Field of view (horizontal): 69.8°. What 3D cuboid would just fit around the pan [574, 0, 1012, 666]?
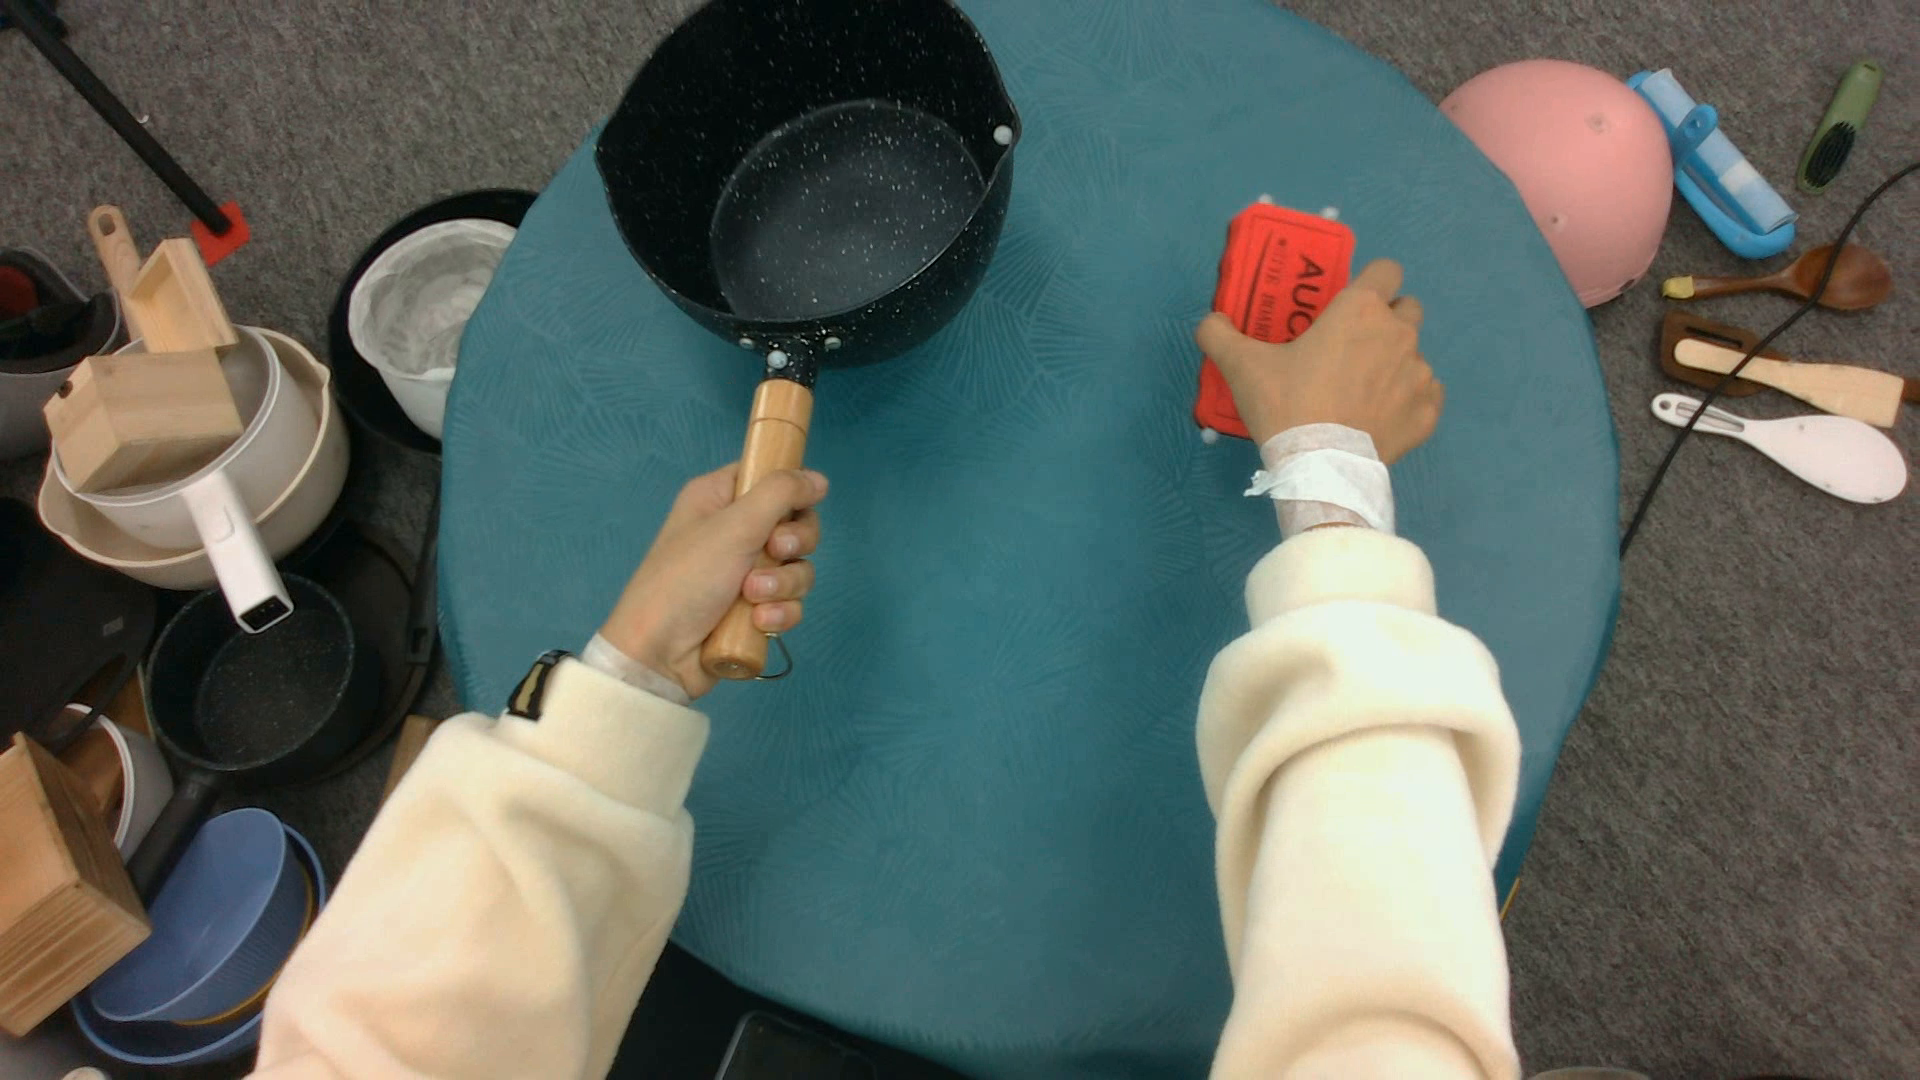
[{"bbox_3d":[-0.076,-0.099,0.626,0.207,0.108,0.344,-2,69,10],"label":"pan"}]

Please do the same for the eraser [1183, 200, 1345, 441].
[{"bbox_3d":[0.146,-0.105,0.663,0.059,0.023,0.108,12,87,-6],"label":"eraser"}]
